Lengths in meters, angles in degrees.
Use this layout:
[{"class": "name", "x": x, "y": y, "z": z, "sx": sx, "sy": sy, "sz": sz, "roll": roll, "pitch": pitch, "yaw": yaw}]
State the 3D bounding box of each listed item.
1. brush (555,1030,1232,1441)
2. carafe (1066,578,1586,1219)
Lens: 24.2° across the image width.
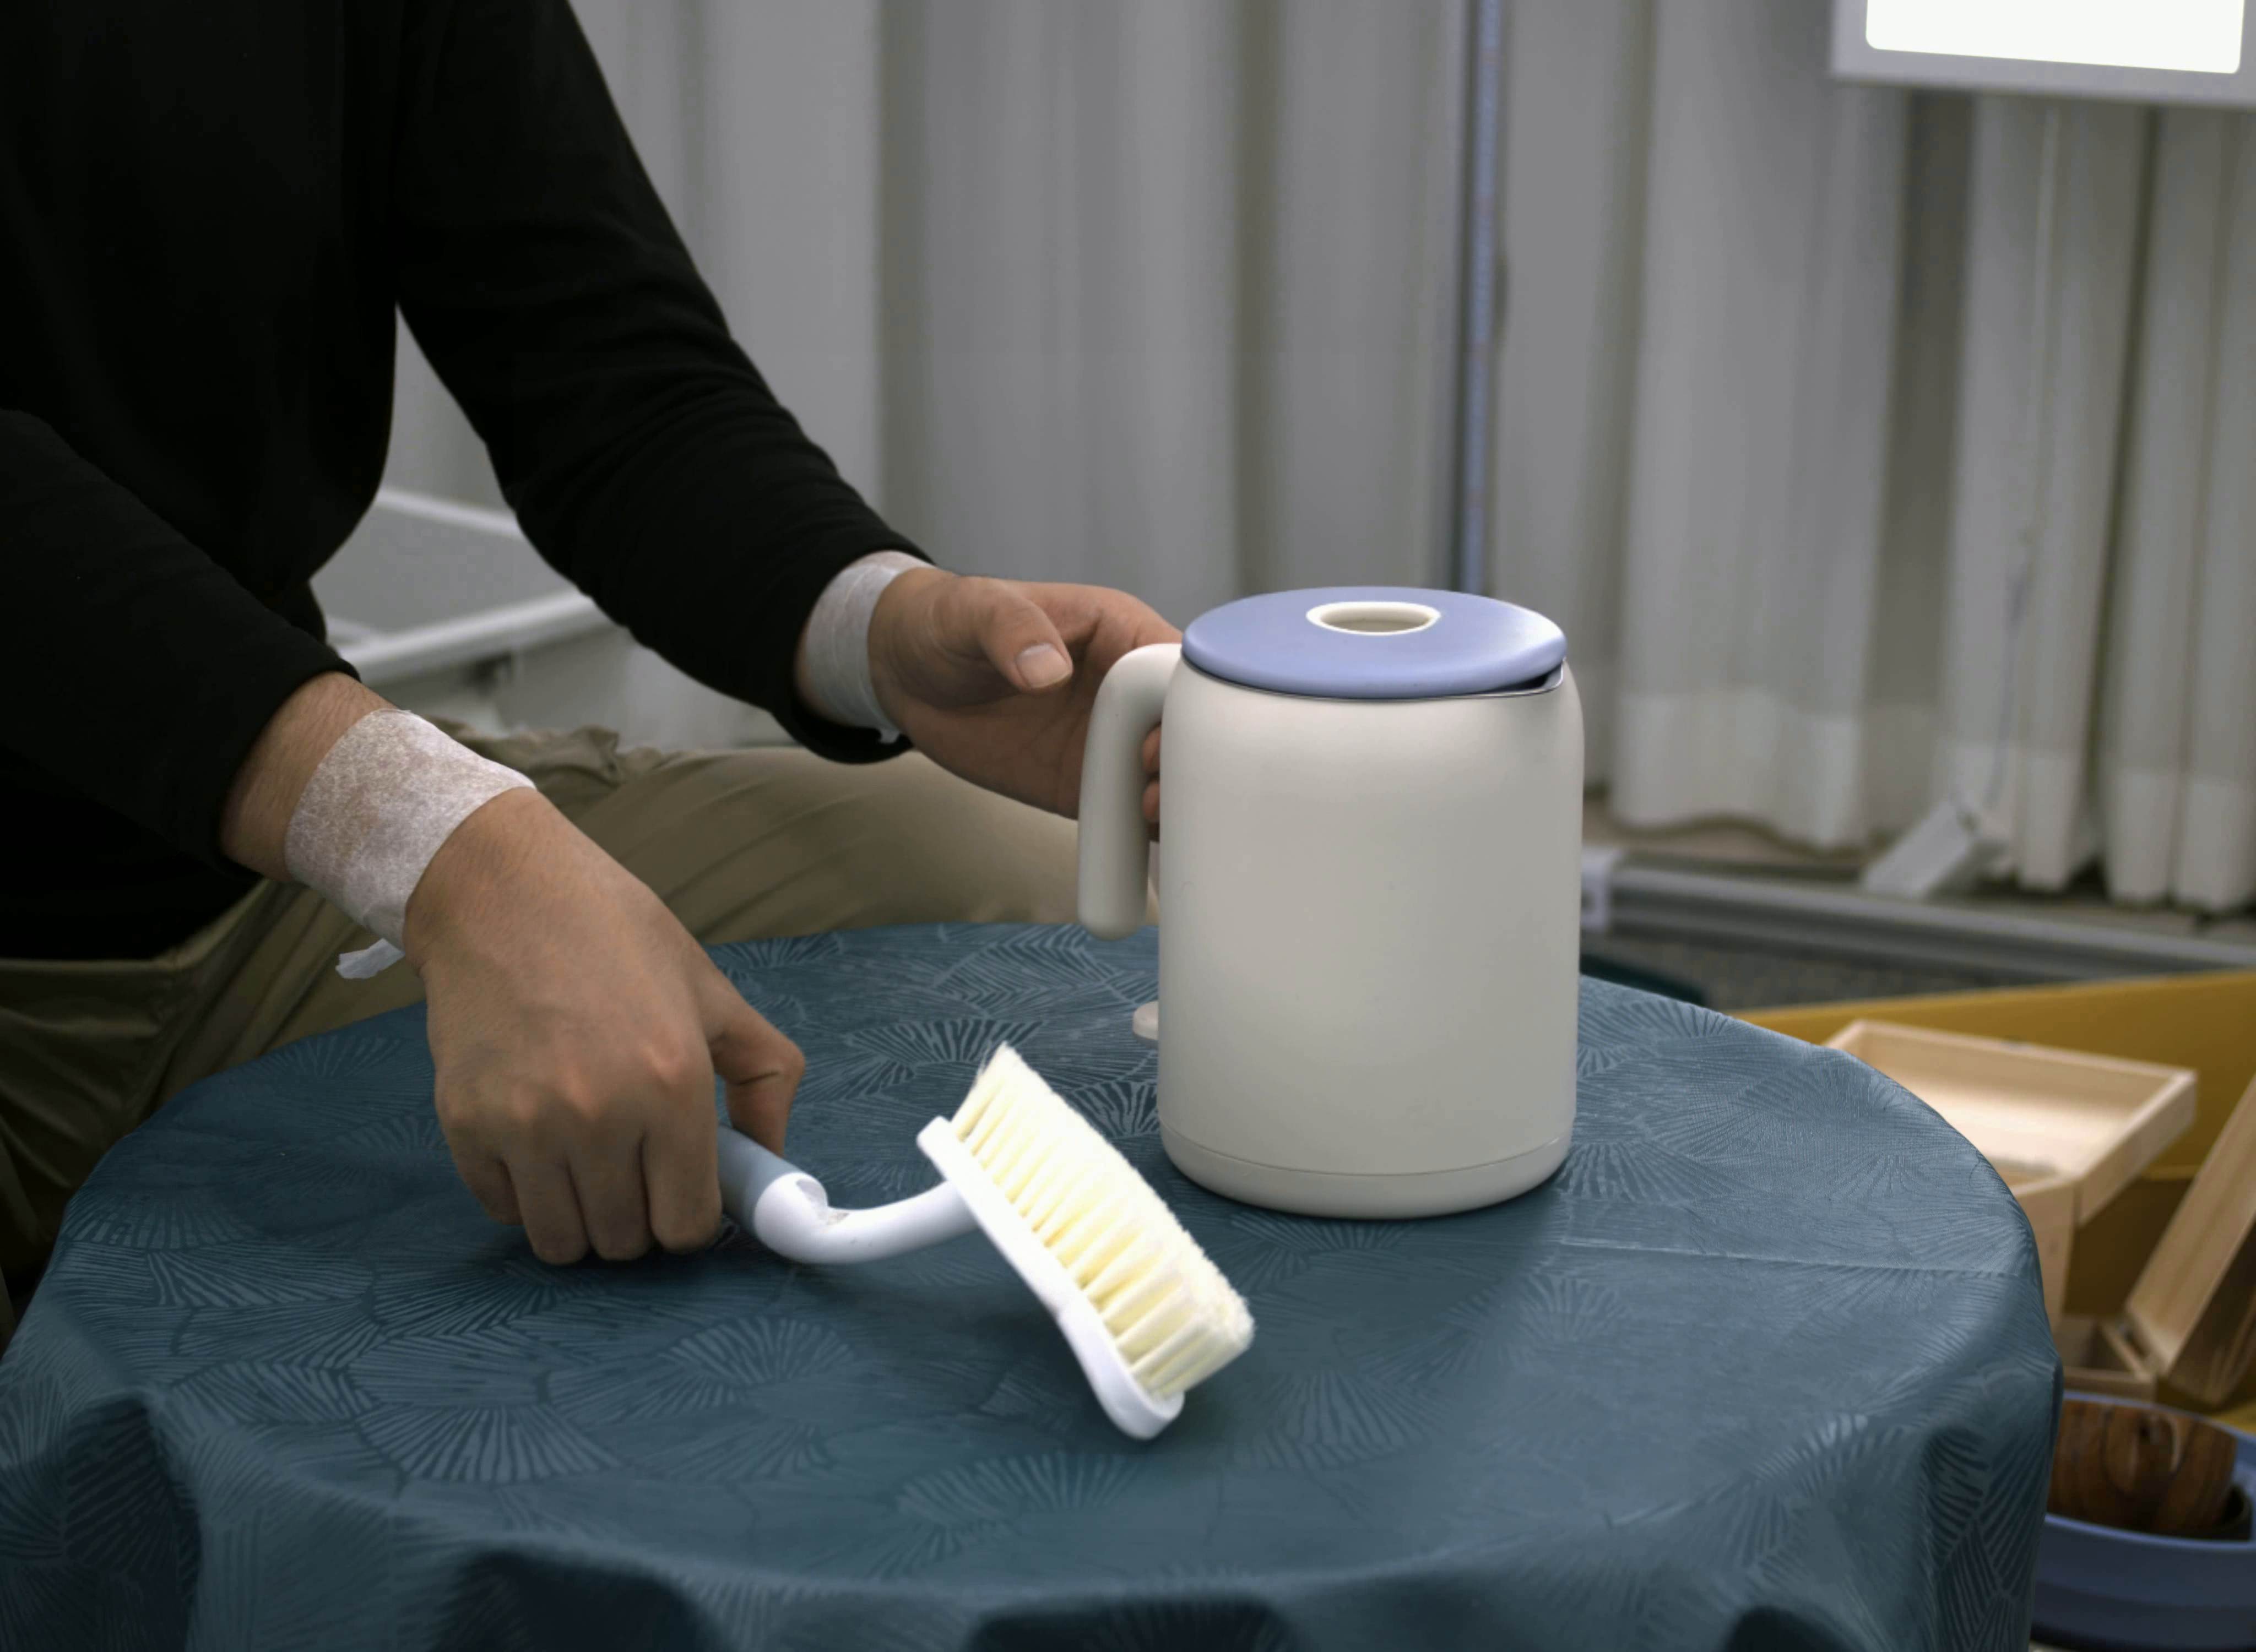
[{"class": "brush", "x": -0.067, "y": 0.089, "z": 1.540, "sx": 0.085, "sy": 0.084, "sz": 0.321, "roll": -15, "pitch": 24, "yaw": -30}, {"class": "carafe", "x": 0.056, "y": 0.017, "z": 1.643, "sx": 0.188, "sy": 0.184, "sz": 0.133, "roll": 12, "pitch": 19, "yaw": 38}]
